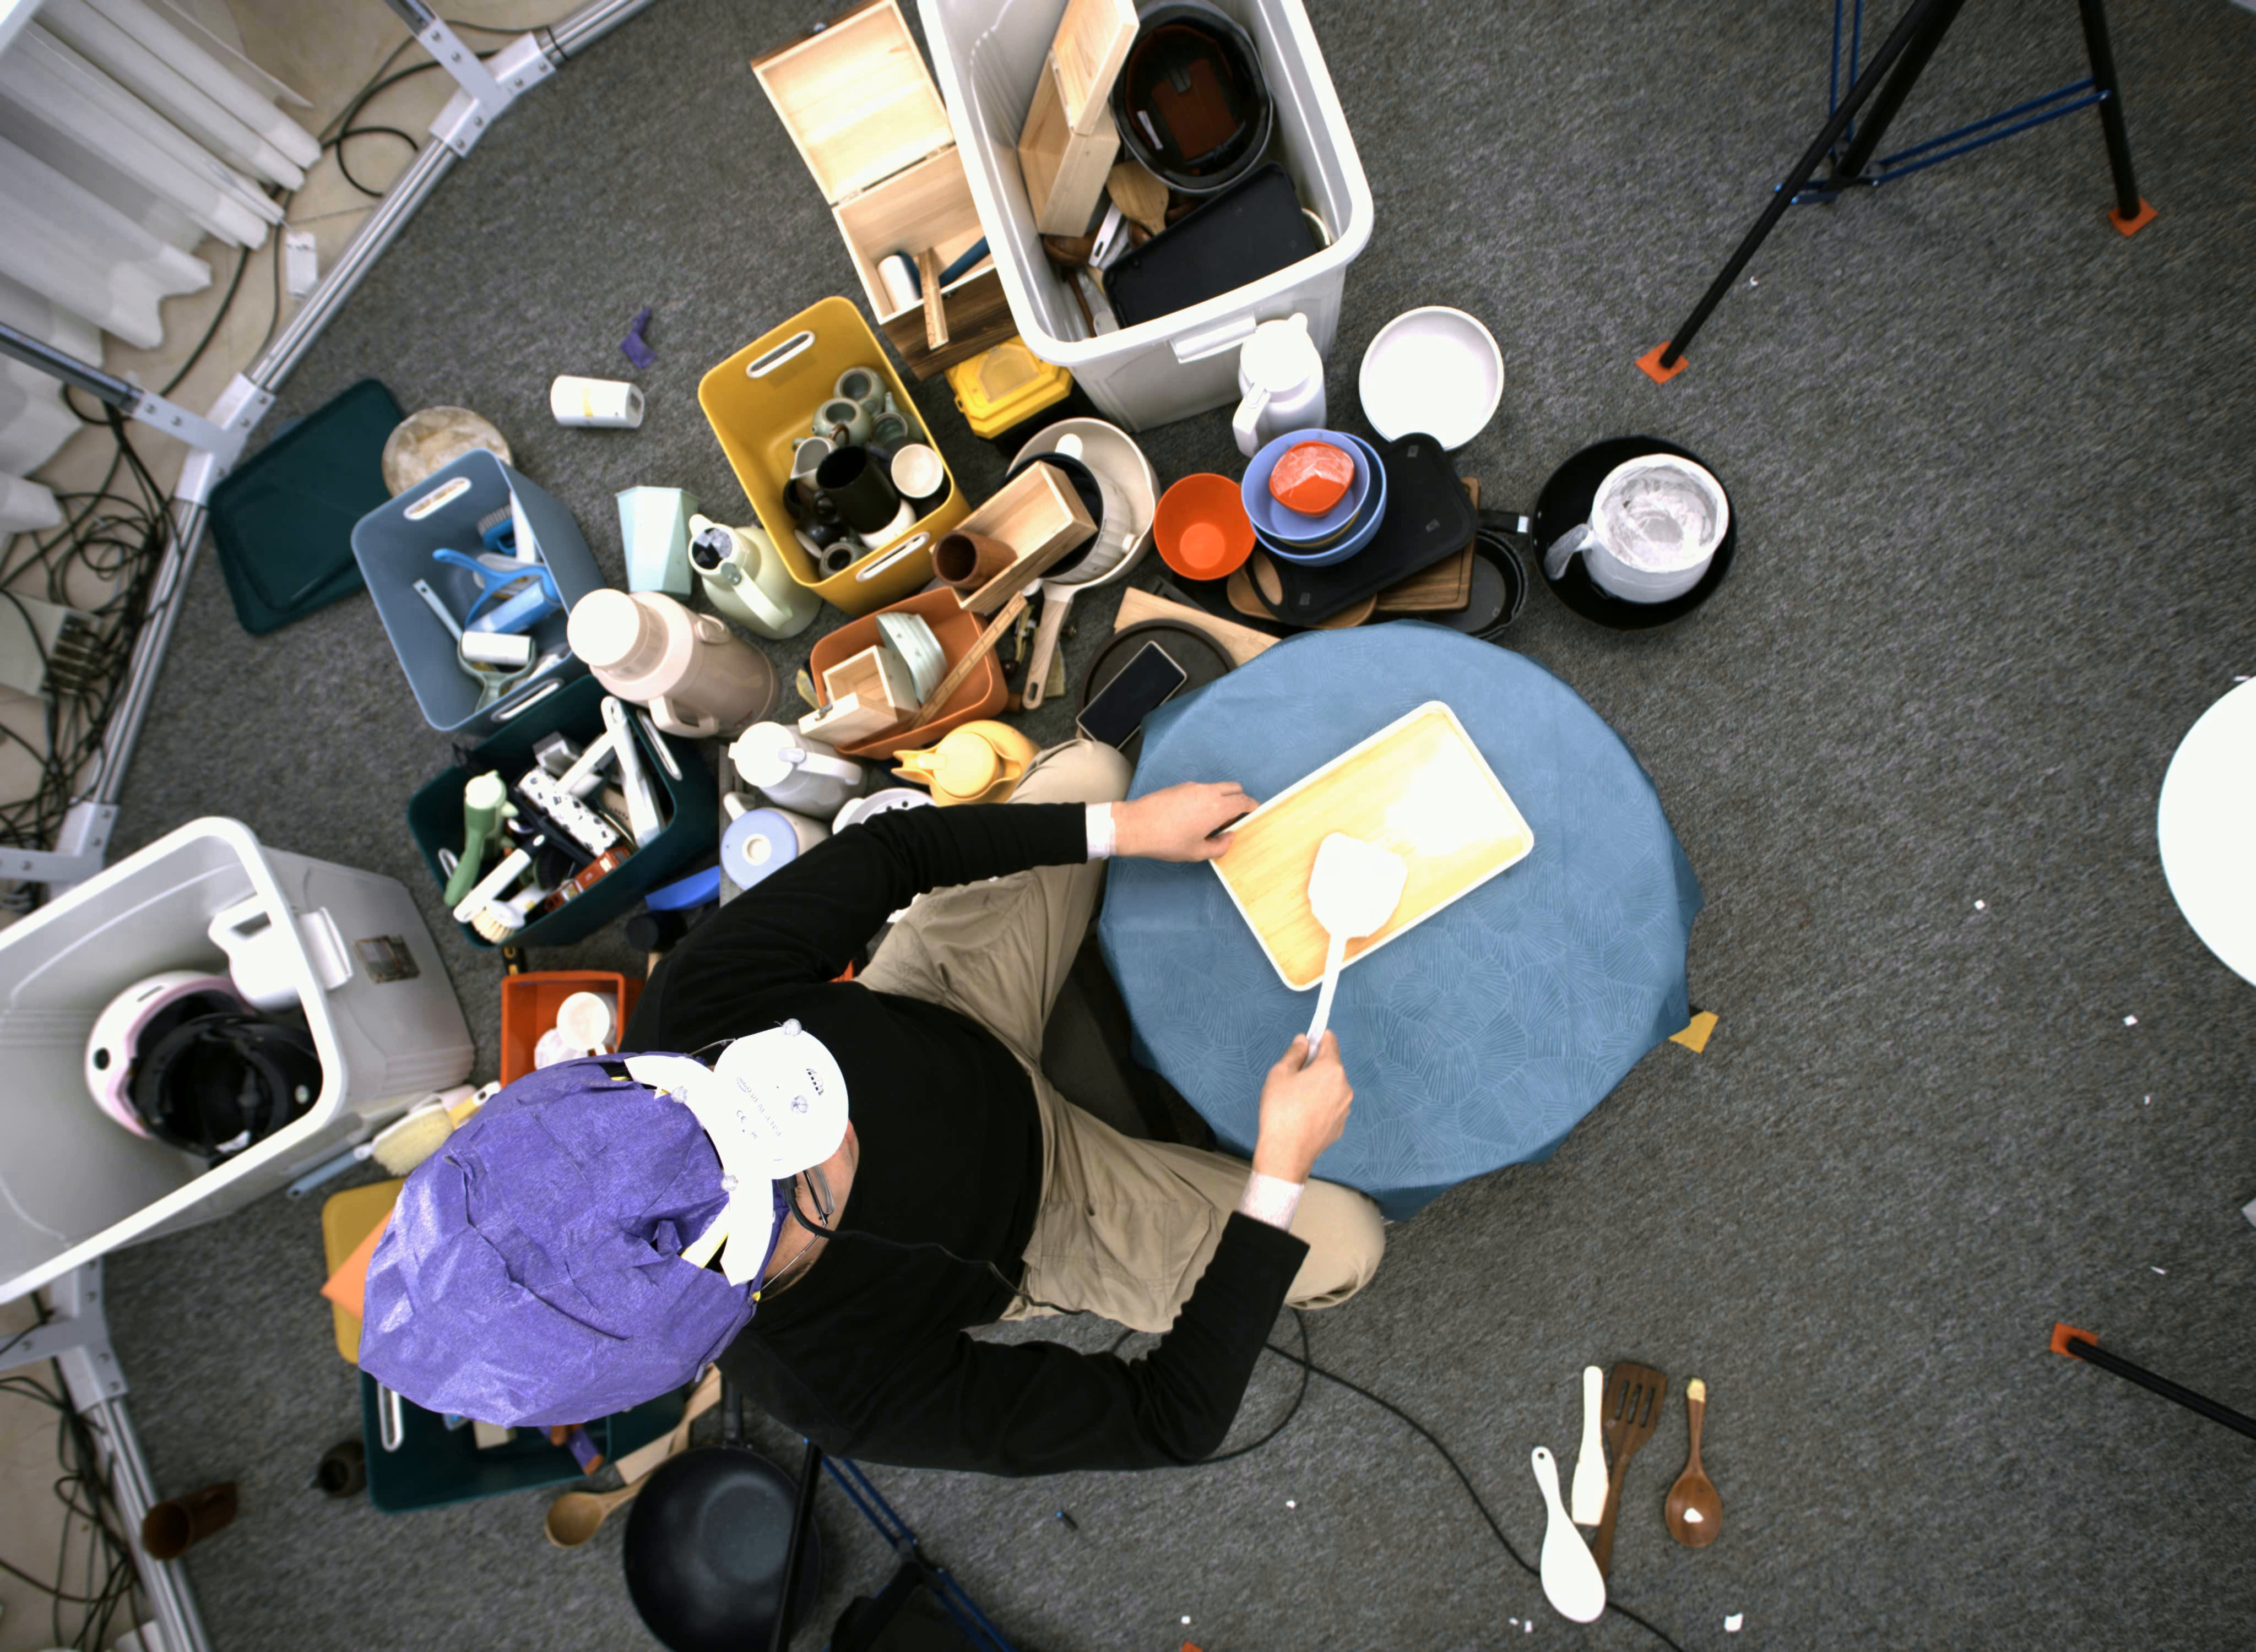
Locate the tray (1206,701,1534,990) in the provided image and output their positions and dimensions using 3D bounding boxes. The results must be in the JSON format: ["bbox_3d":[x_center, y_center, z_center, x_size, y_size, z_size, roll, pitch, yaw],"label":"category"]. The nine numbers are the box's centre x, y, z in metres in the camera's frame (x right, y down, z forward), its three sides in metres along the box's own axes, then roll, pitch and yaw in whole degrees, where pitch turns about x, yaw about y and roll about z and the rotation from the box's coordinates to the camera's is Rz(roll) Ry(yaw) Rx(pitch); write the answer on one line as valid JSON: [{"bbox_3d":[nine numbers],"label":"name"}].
[{"bbox_3d":[0.252,0.020,1.453,0.302,0.027,0.190,-32,82,7],"label":"tray"}]

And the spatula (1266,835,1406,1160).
[{"bbox_3d":[0.196,0.165,1.371,0.099,0.046,0.355,22,55,-2],"label":"spatula"}]
